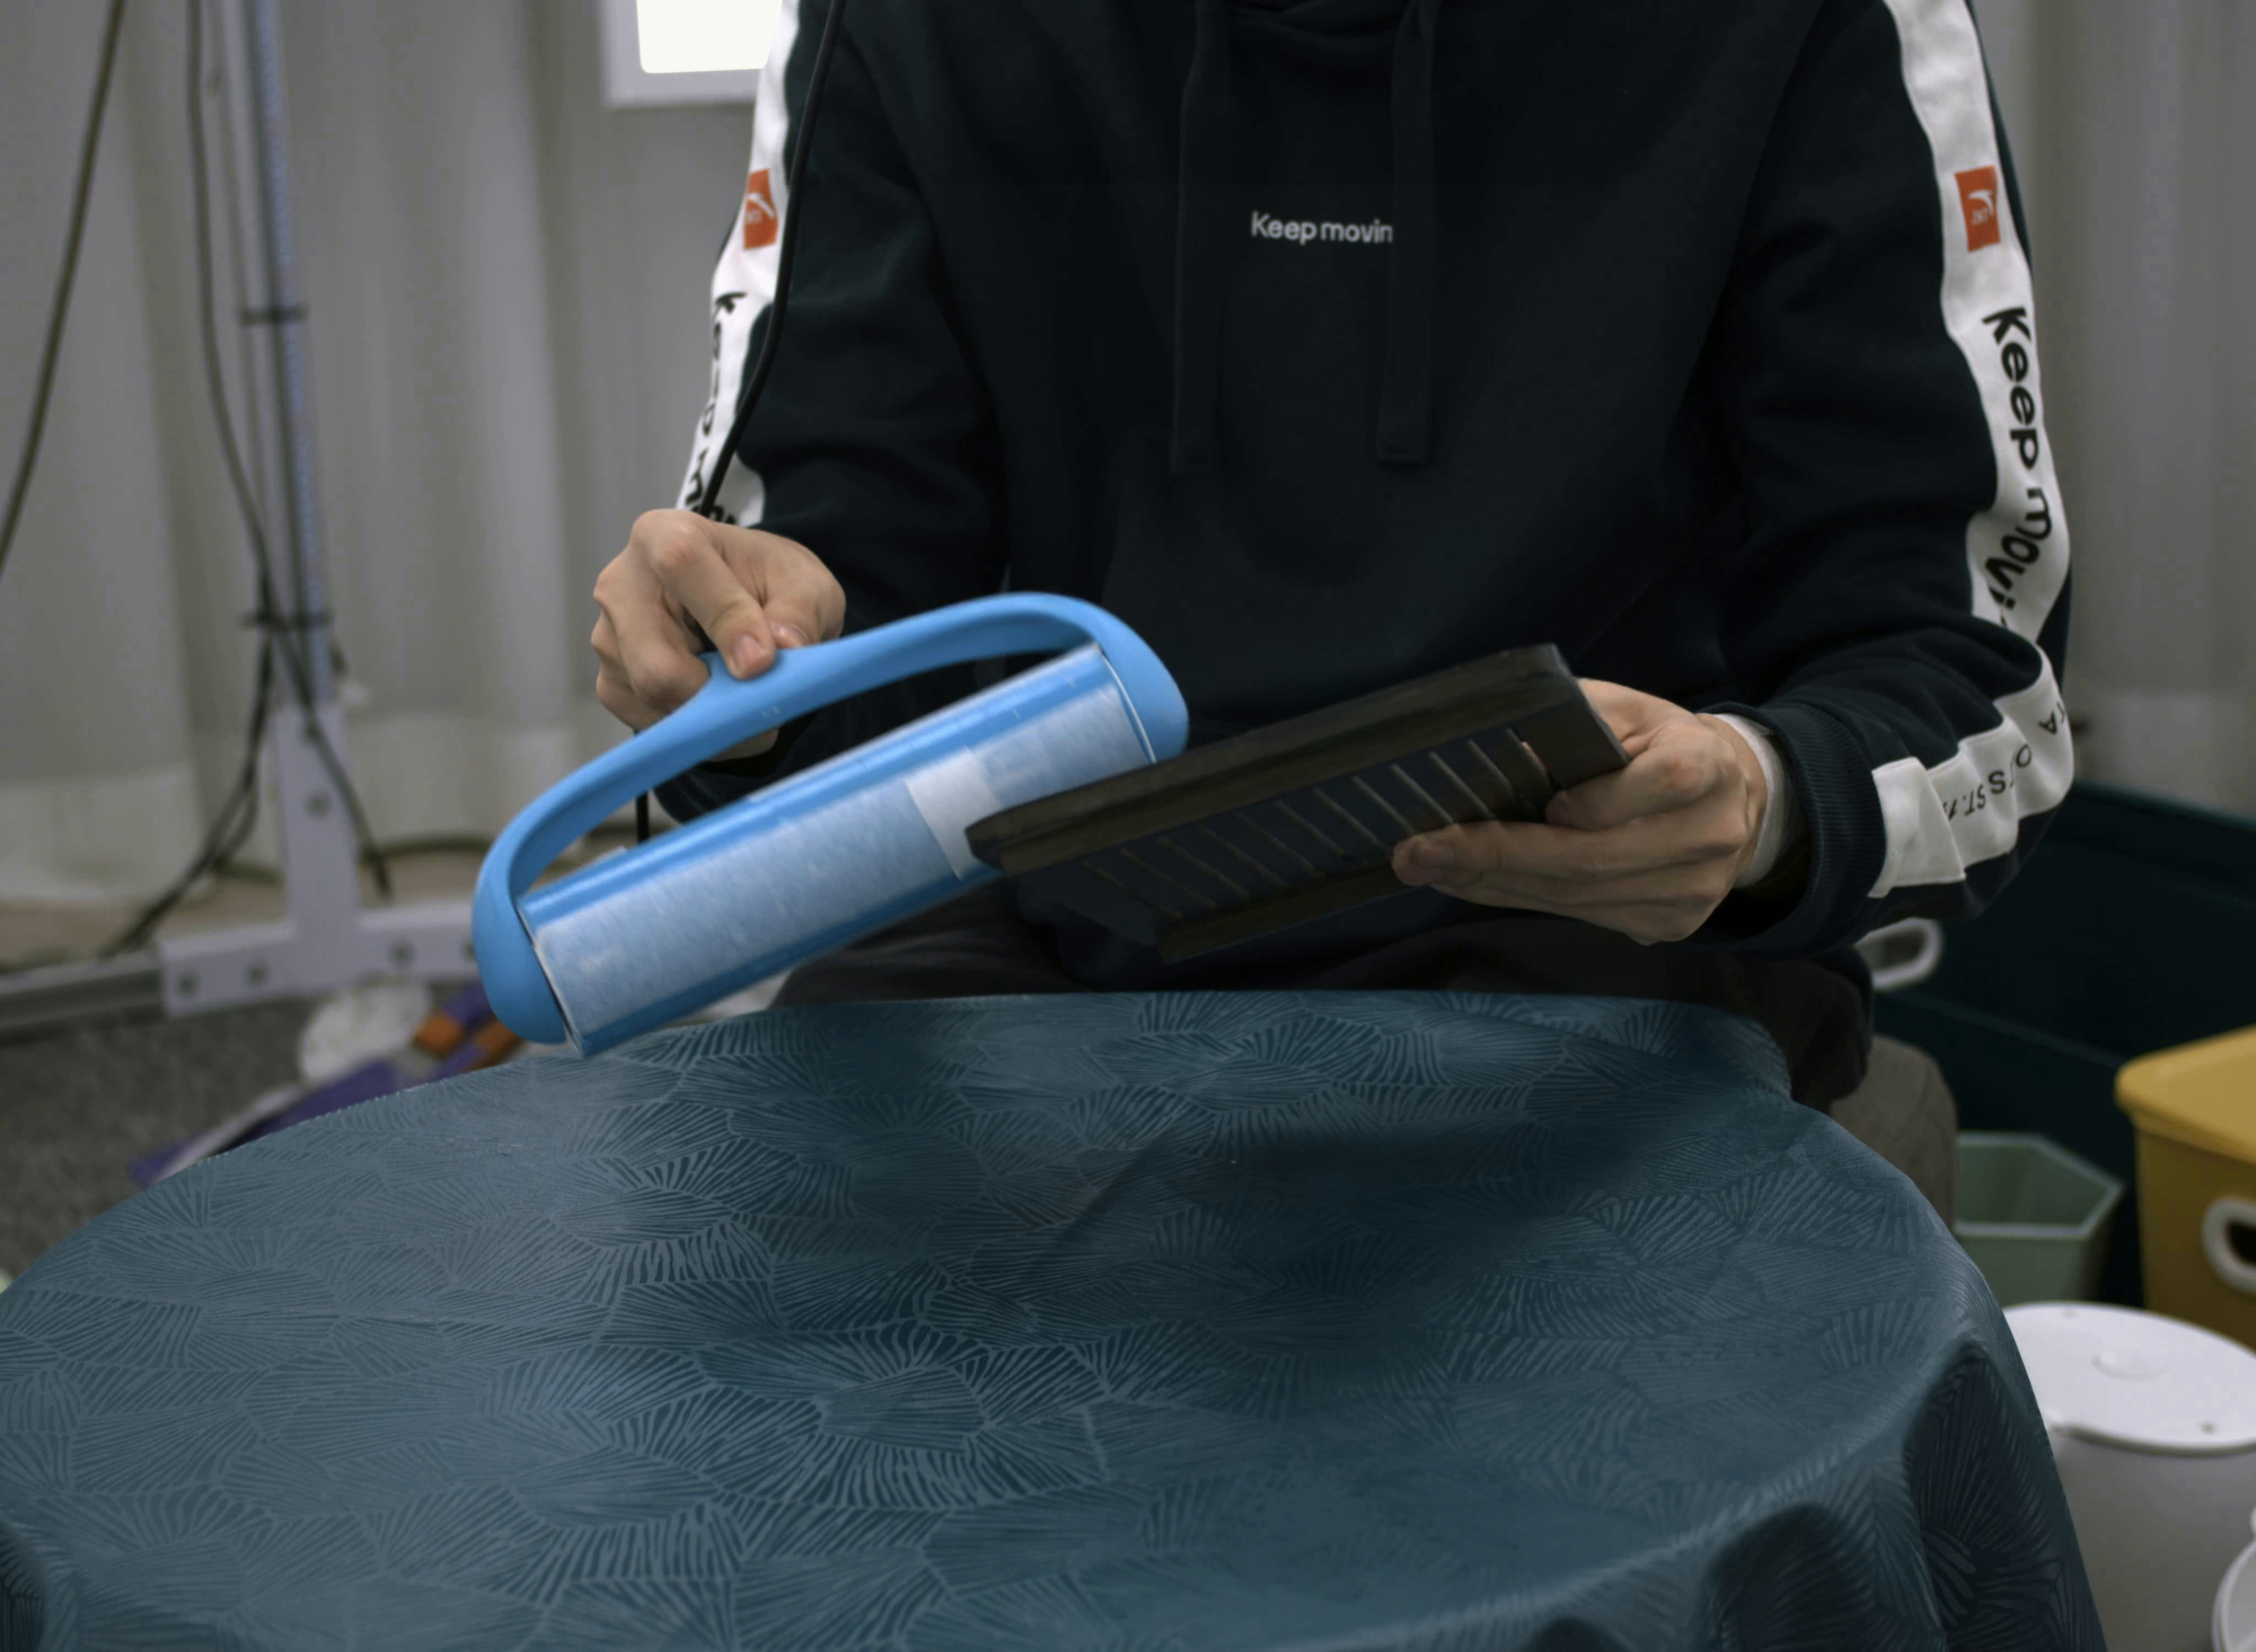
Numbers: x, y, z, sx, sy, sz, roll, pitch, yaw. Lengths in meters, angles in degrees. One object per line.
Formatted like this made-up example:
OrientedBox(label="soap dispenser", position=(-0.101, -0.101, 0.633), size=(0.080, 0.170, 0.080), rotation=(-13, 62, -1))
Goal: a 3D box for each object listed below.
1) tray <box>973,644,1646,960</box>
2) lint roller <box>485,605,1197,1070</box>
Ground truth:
OrientedBox(label="tray", position=(0.063, -0.001, 1.612), size=(0.169, 0.019, 0.304), rotation=(-17, -9, 7))
OrientedBox(label="lint roller", position=(-0.108, -0.019, 1.696), size=(0.228, 0.067, 0.182), rotation=(-27, 36, -11))
